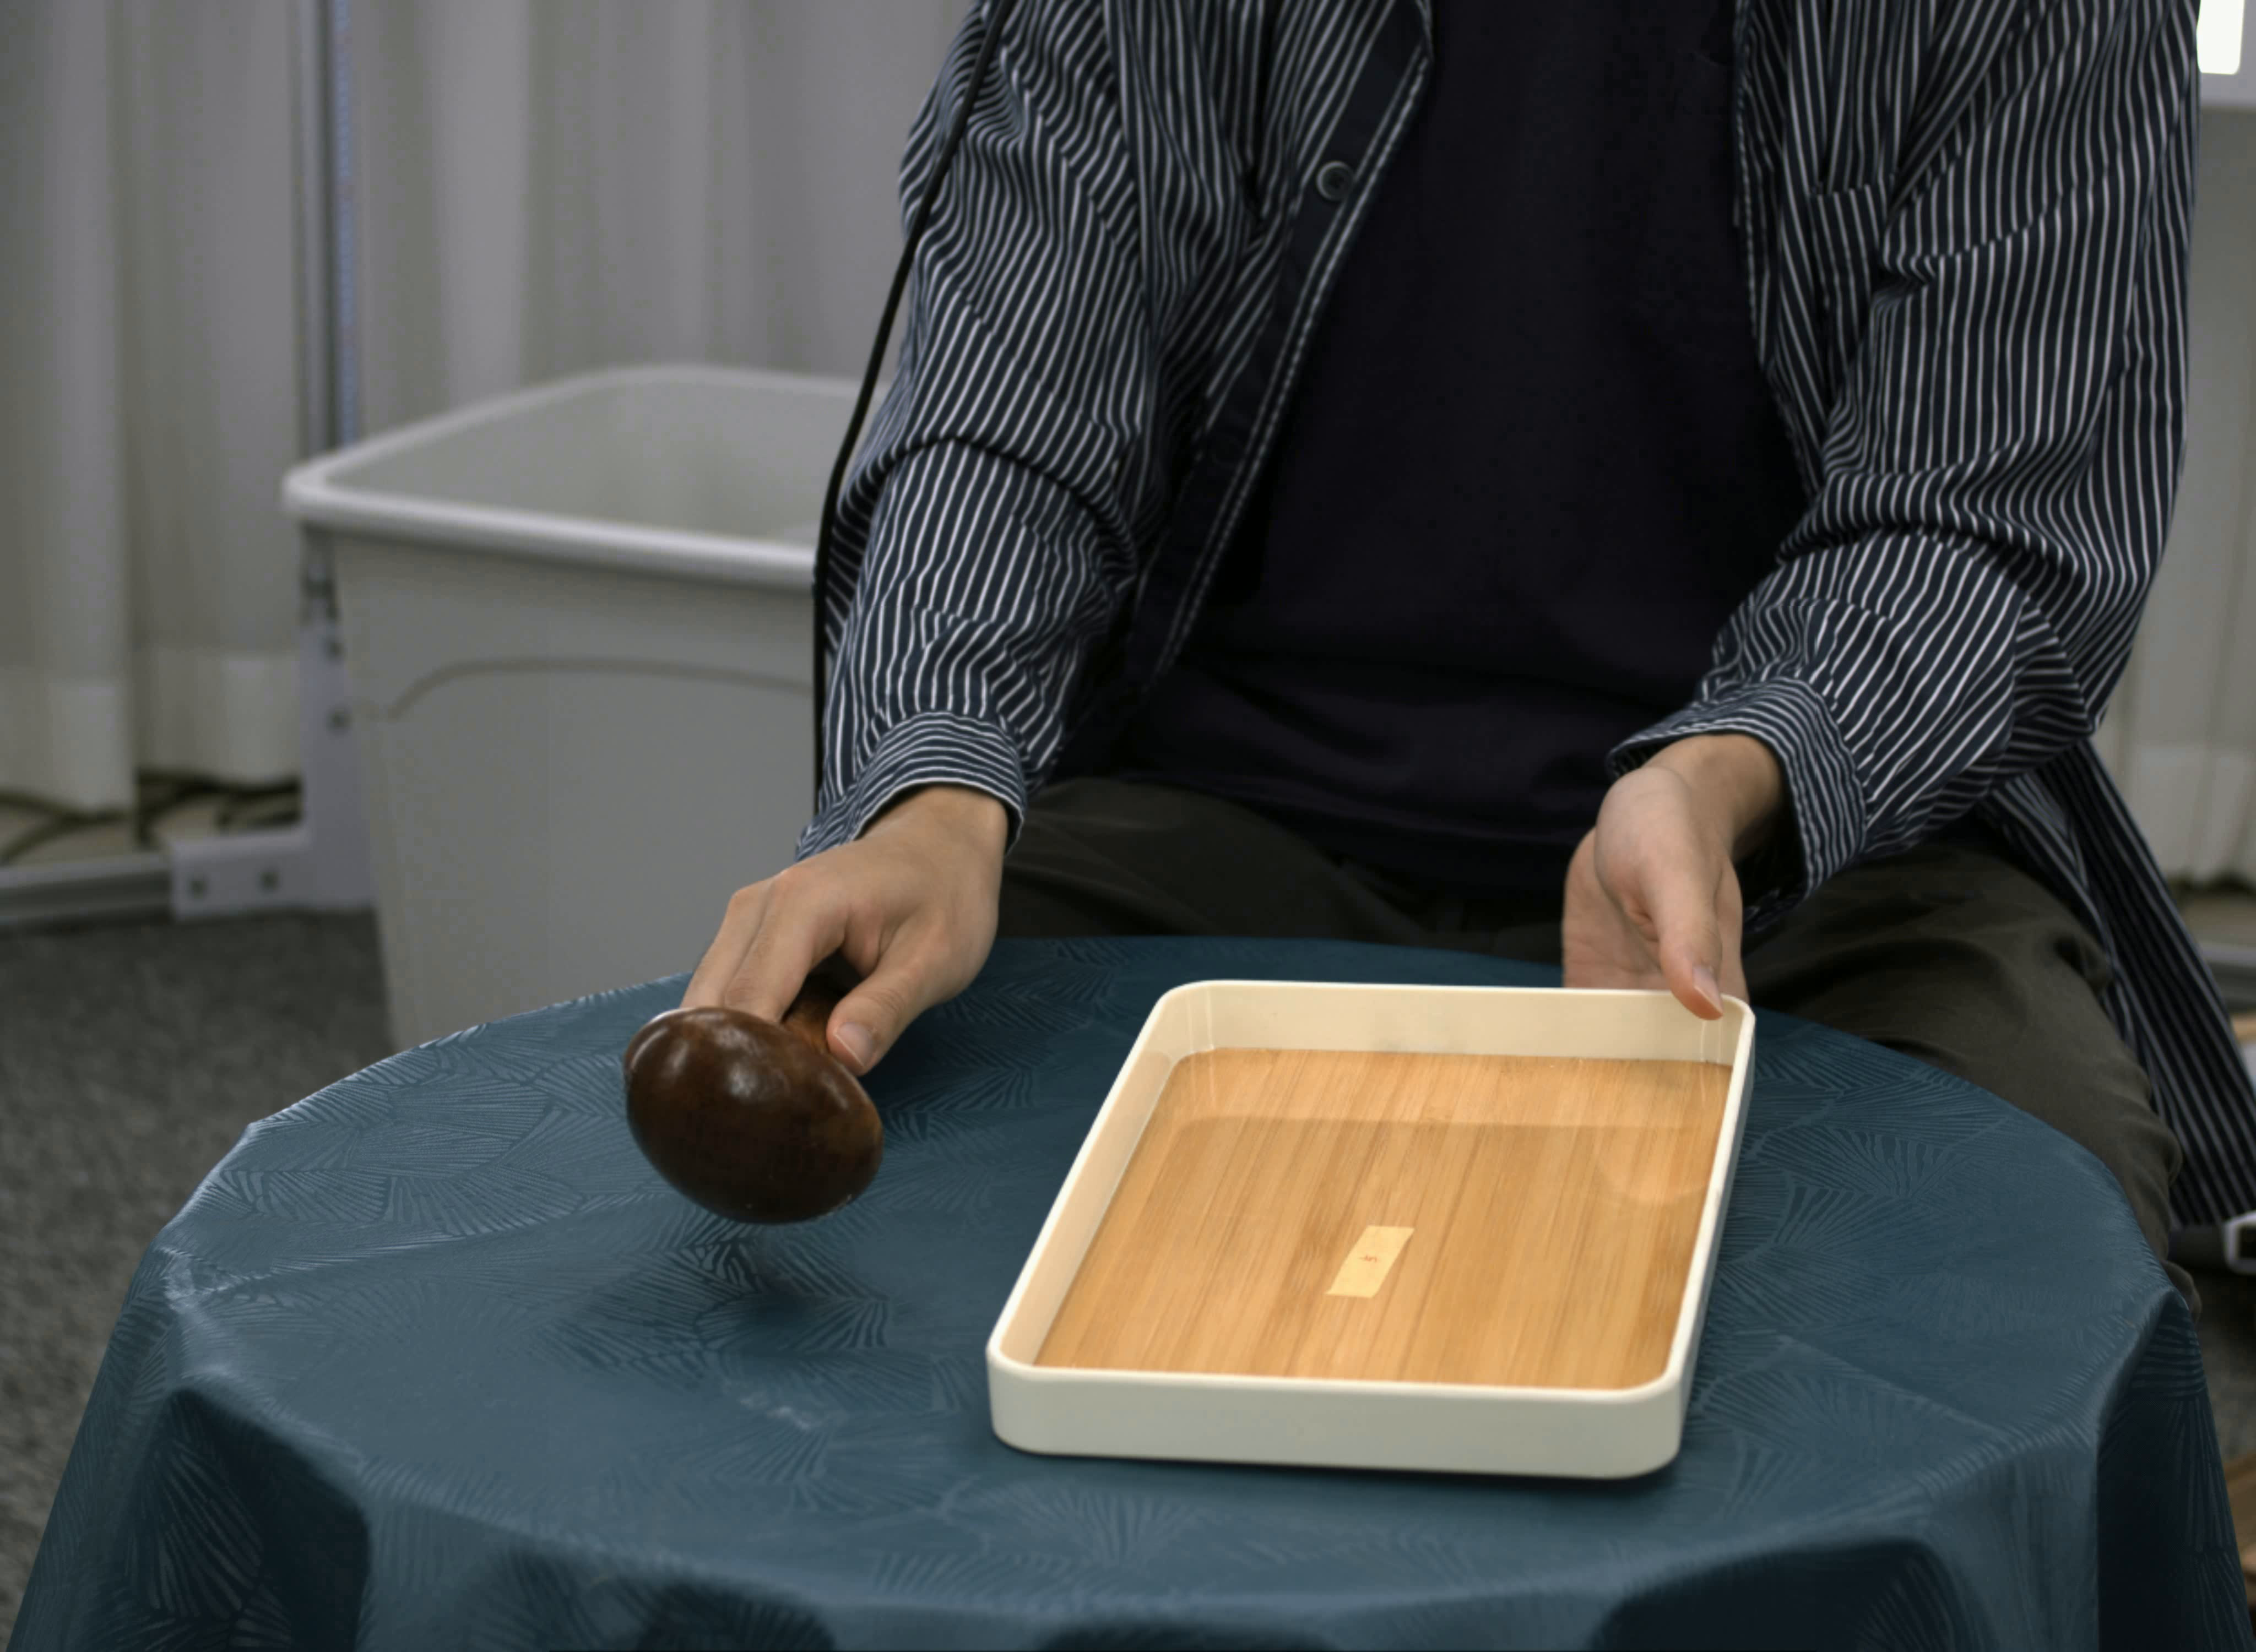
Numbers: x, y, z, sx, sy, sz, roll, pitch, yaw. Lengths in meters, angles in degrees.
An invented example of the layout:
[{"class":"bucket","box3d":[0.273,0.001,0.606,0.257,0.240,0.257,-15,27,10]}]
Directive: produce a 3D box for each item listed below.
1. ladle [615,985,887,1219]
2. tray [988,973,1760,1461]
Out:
[{"class":"ladle","box3d":[-0.098,0.061,1.623,0.082,0.077,0.273,33,15,0]},{"class":"tray","box3d":[0.080,0.109,1.548,0.190,0.027,0.299,2,19,11]}]
